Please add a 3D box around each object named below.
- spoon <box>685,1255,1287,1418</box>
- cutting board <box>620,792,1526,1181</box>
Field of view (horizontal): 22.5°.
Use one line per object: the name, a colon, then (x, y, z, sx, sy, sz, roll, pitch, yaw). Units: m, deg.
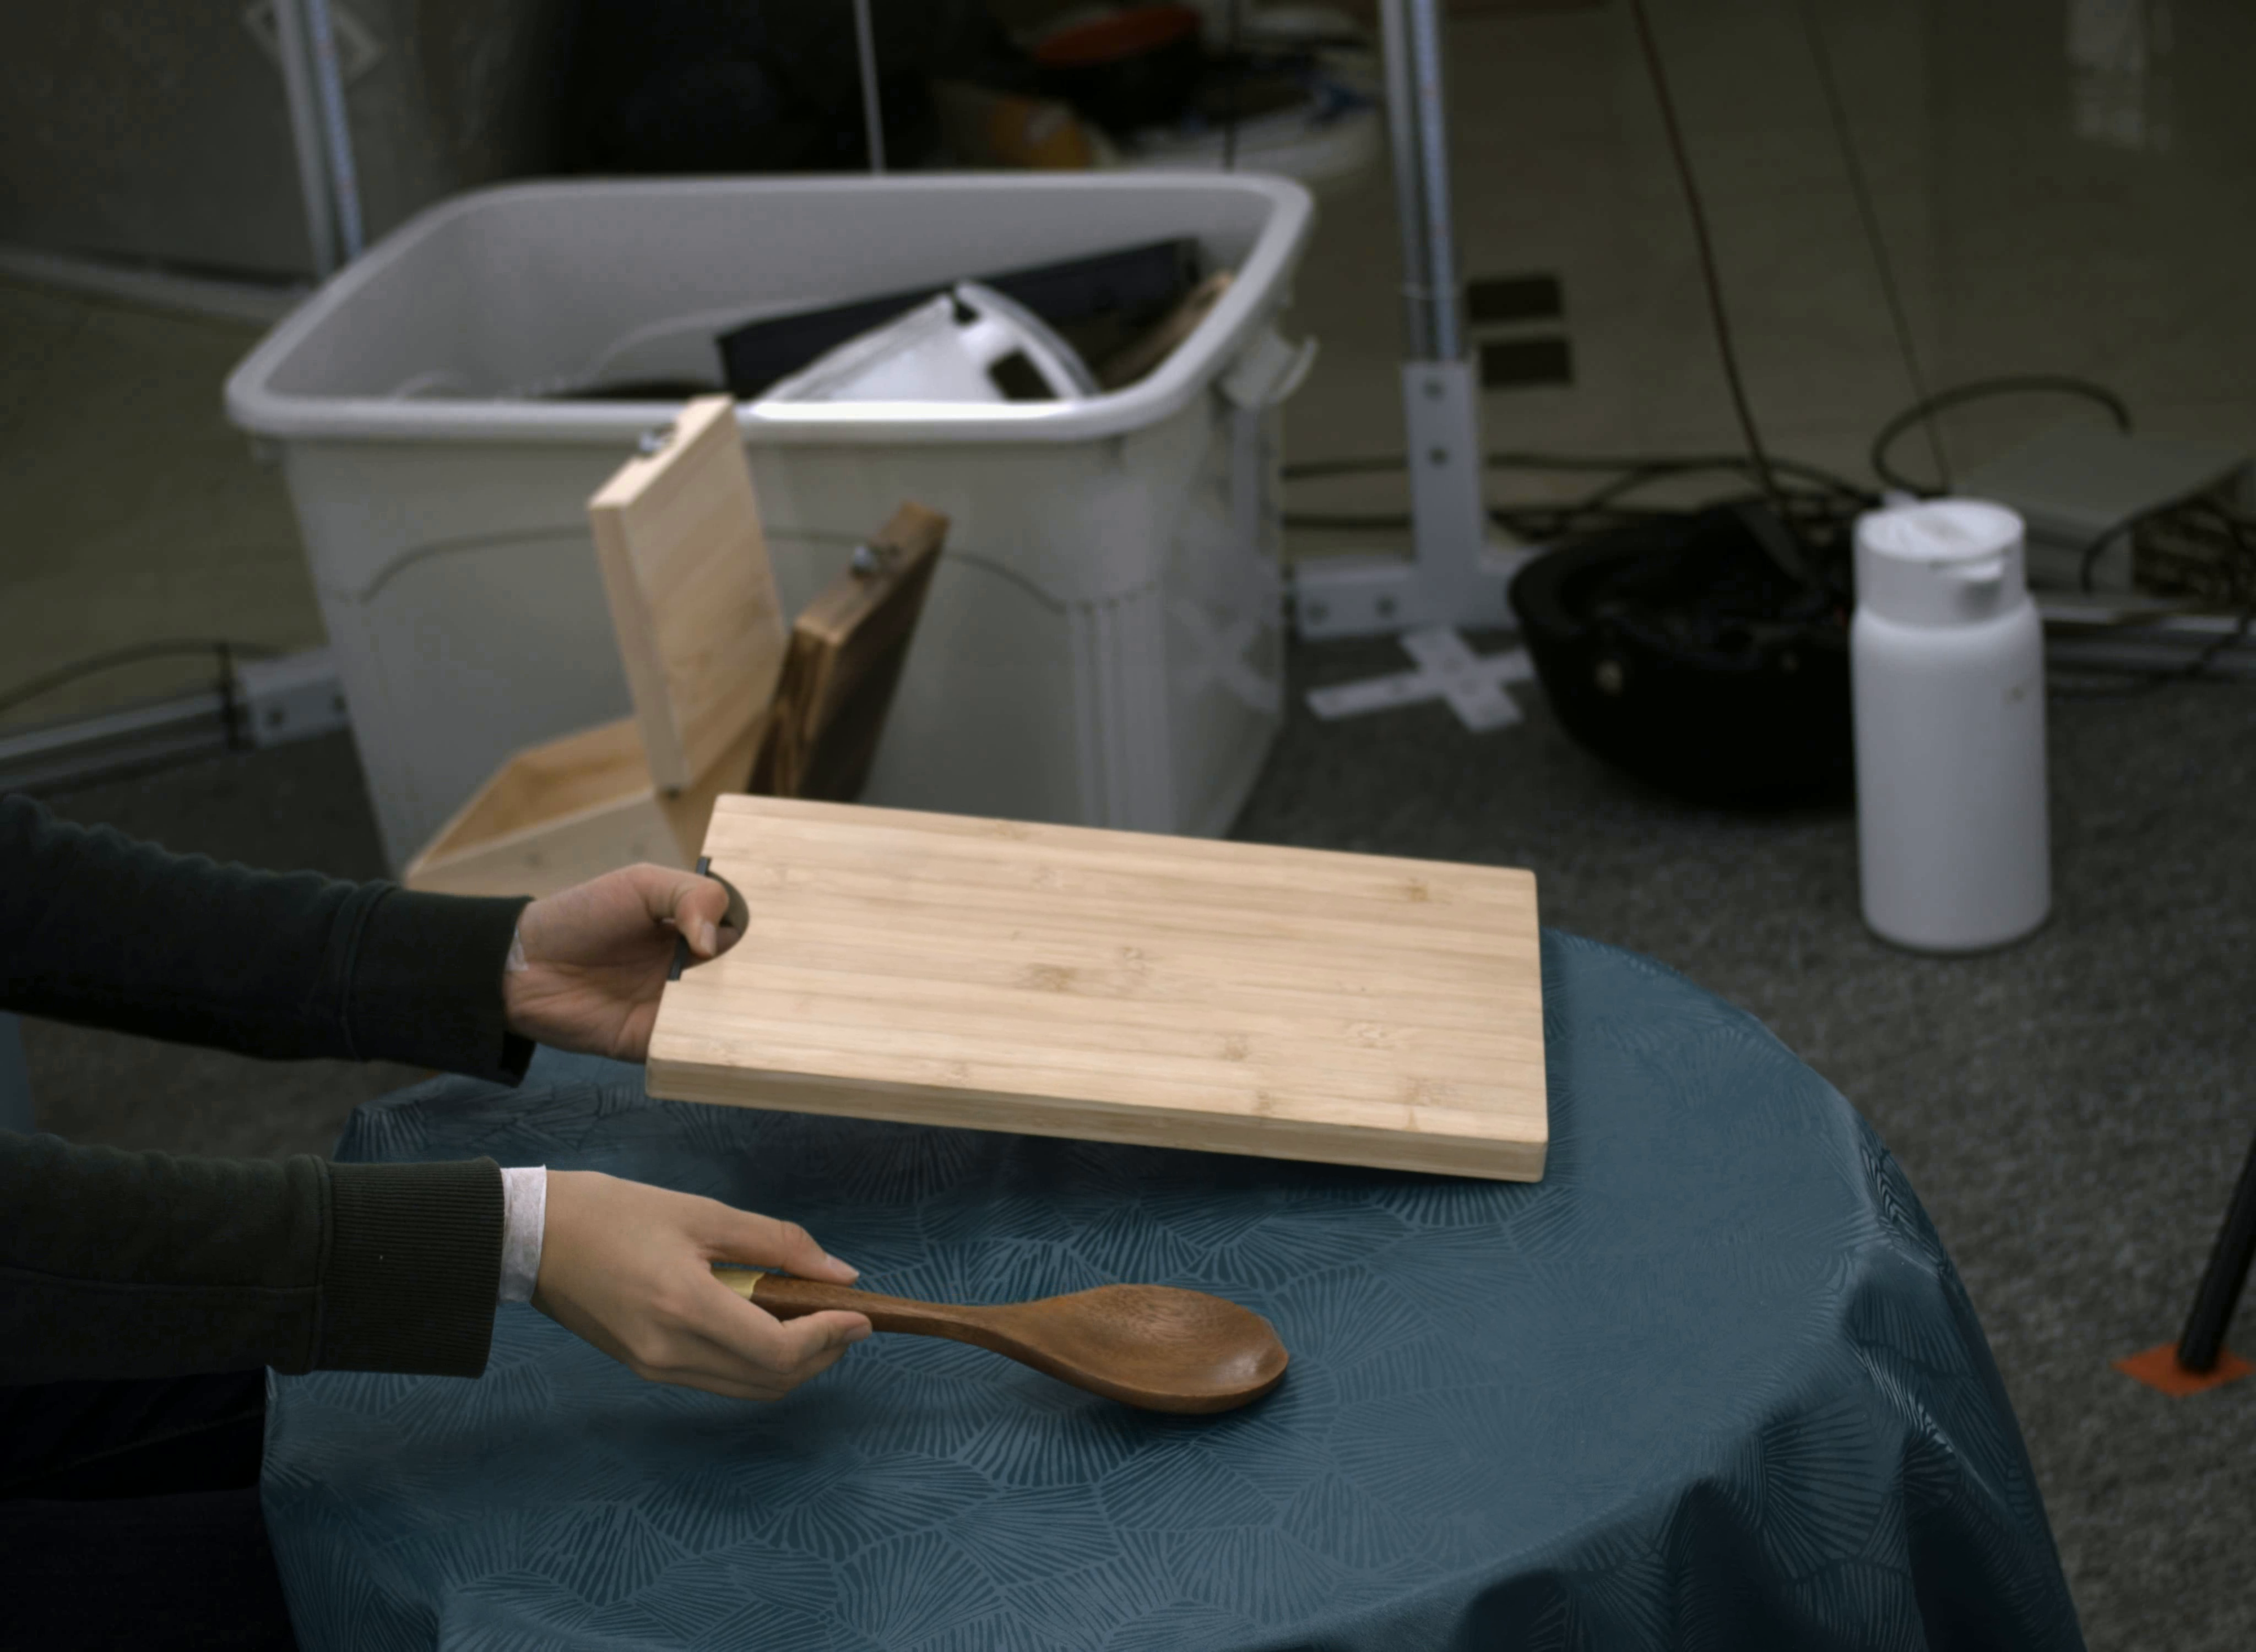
spoon: (-0.050, 0.177, 2.015, 0.215, 0.017, 0.074, 9, 29, -1)
cutting board: (-0.014, 0.060, 2.228, 0.348, 0.024, 0.247, 5, 25, -1)
